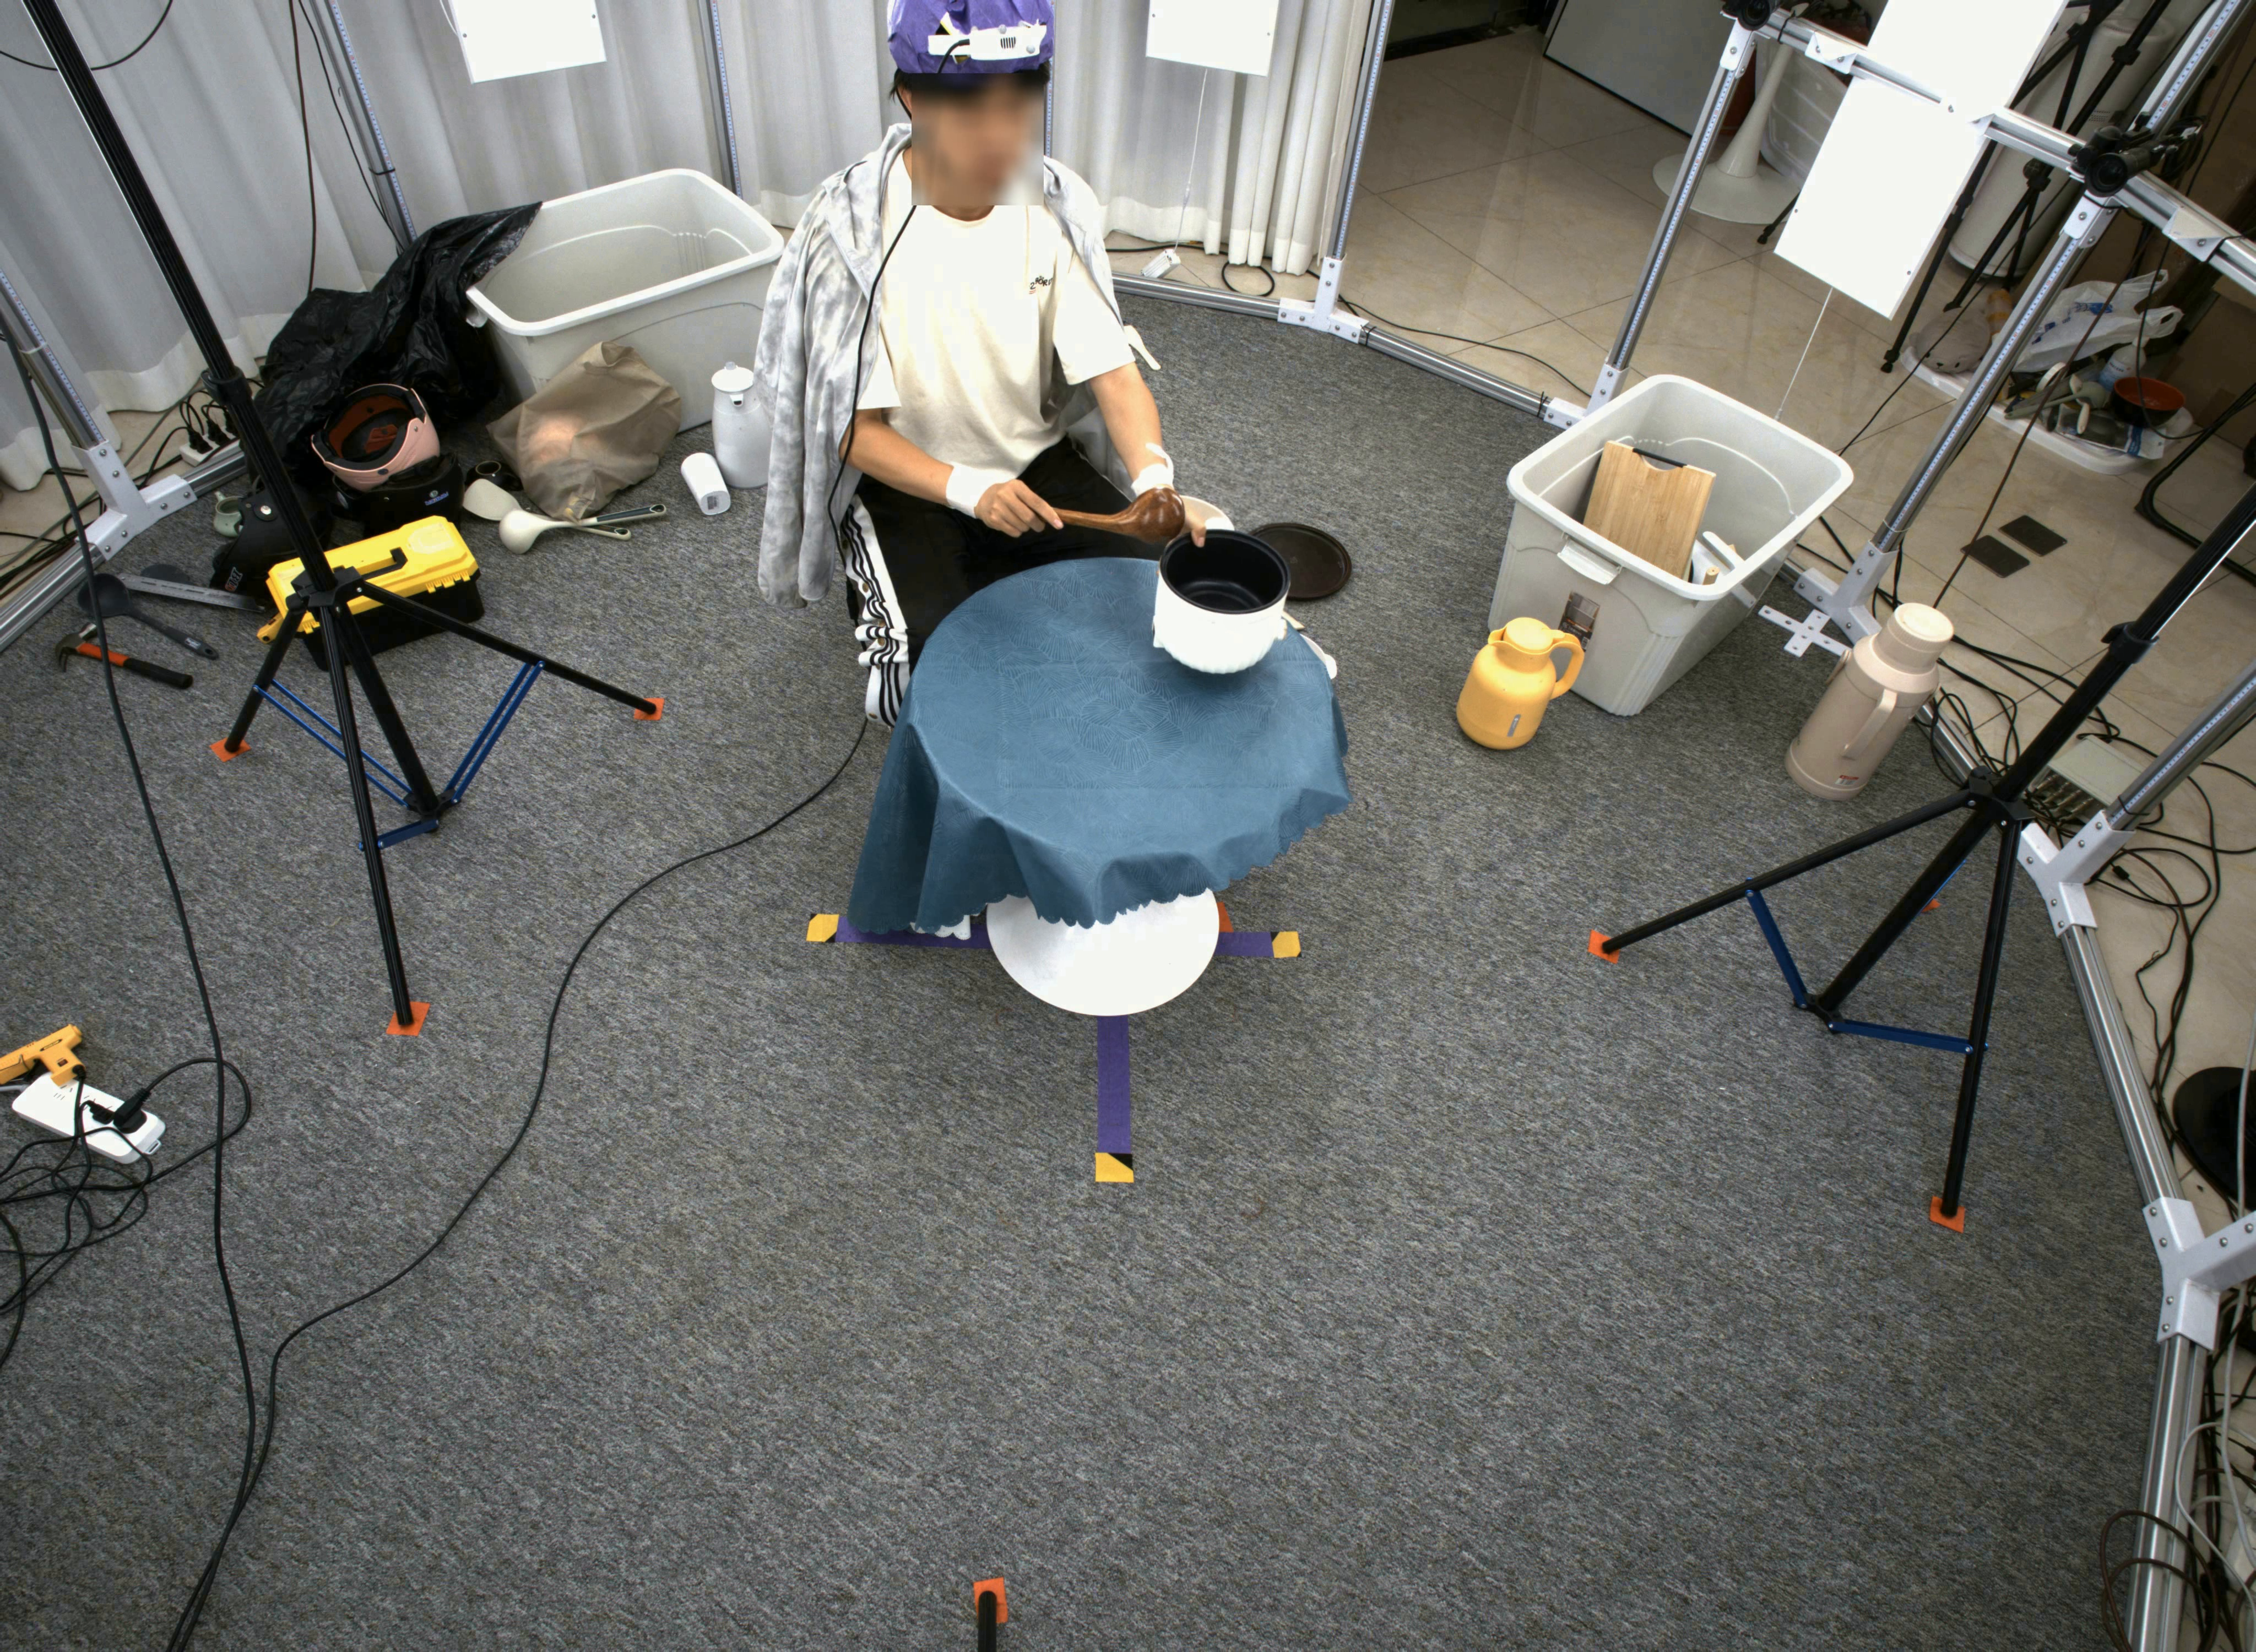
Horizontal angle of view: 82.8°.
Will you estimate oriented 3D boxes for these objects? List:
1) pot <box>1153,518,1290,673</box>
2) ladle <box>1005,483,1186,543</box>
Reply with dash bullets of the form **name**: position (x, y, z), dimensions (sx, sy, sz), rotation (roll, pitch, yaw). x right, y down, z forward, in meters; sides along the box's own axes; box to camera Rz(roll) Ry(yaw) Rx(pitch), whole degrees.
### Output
- **pot**: position (0.134, -0.312, 1.813), dimensions (0.190, 0.139, 0.246), rotation (-1, 49, -3)
- **ladle**: position (-0.046, -0.442, 1.808), dimensions (0.276, 0.080, 0.077), rotation (13, 40, 34)
